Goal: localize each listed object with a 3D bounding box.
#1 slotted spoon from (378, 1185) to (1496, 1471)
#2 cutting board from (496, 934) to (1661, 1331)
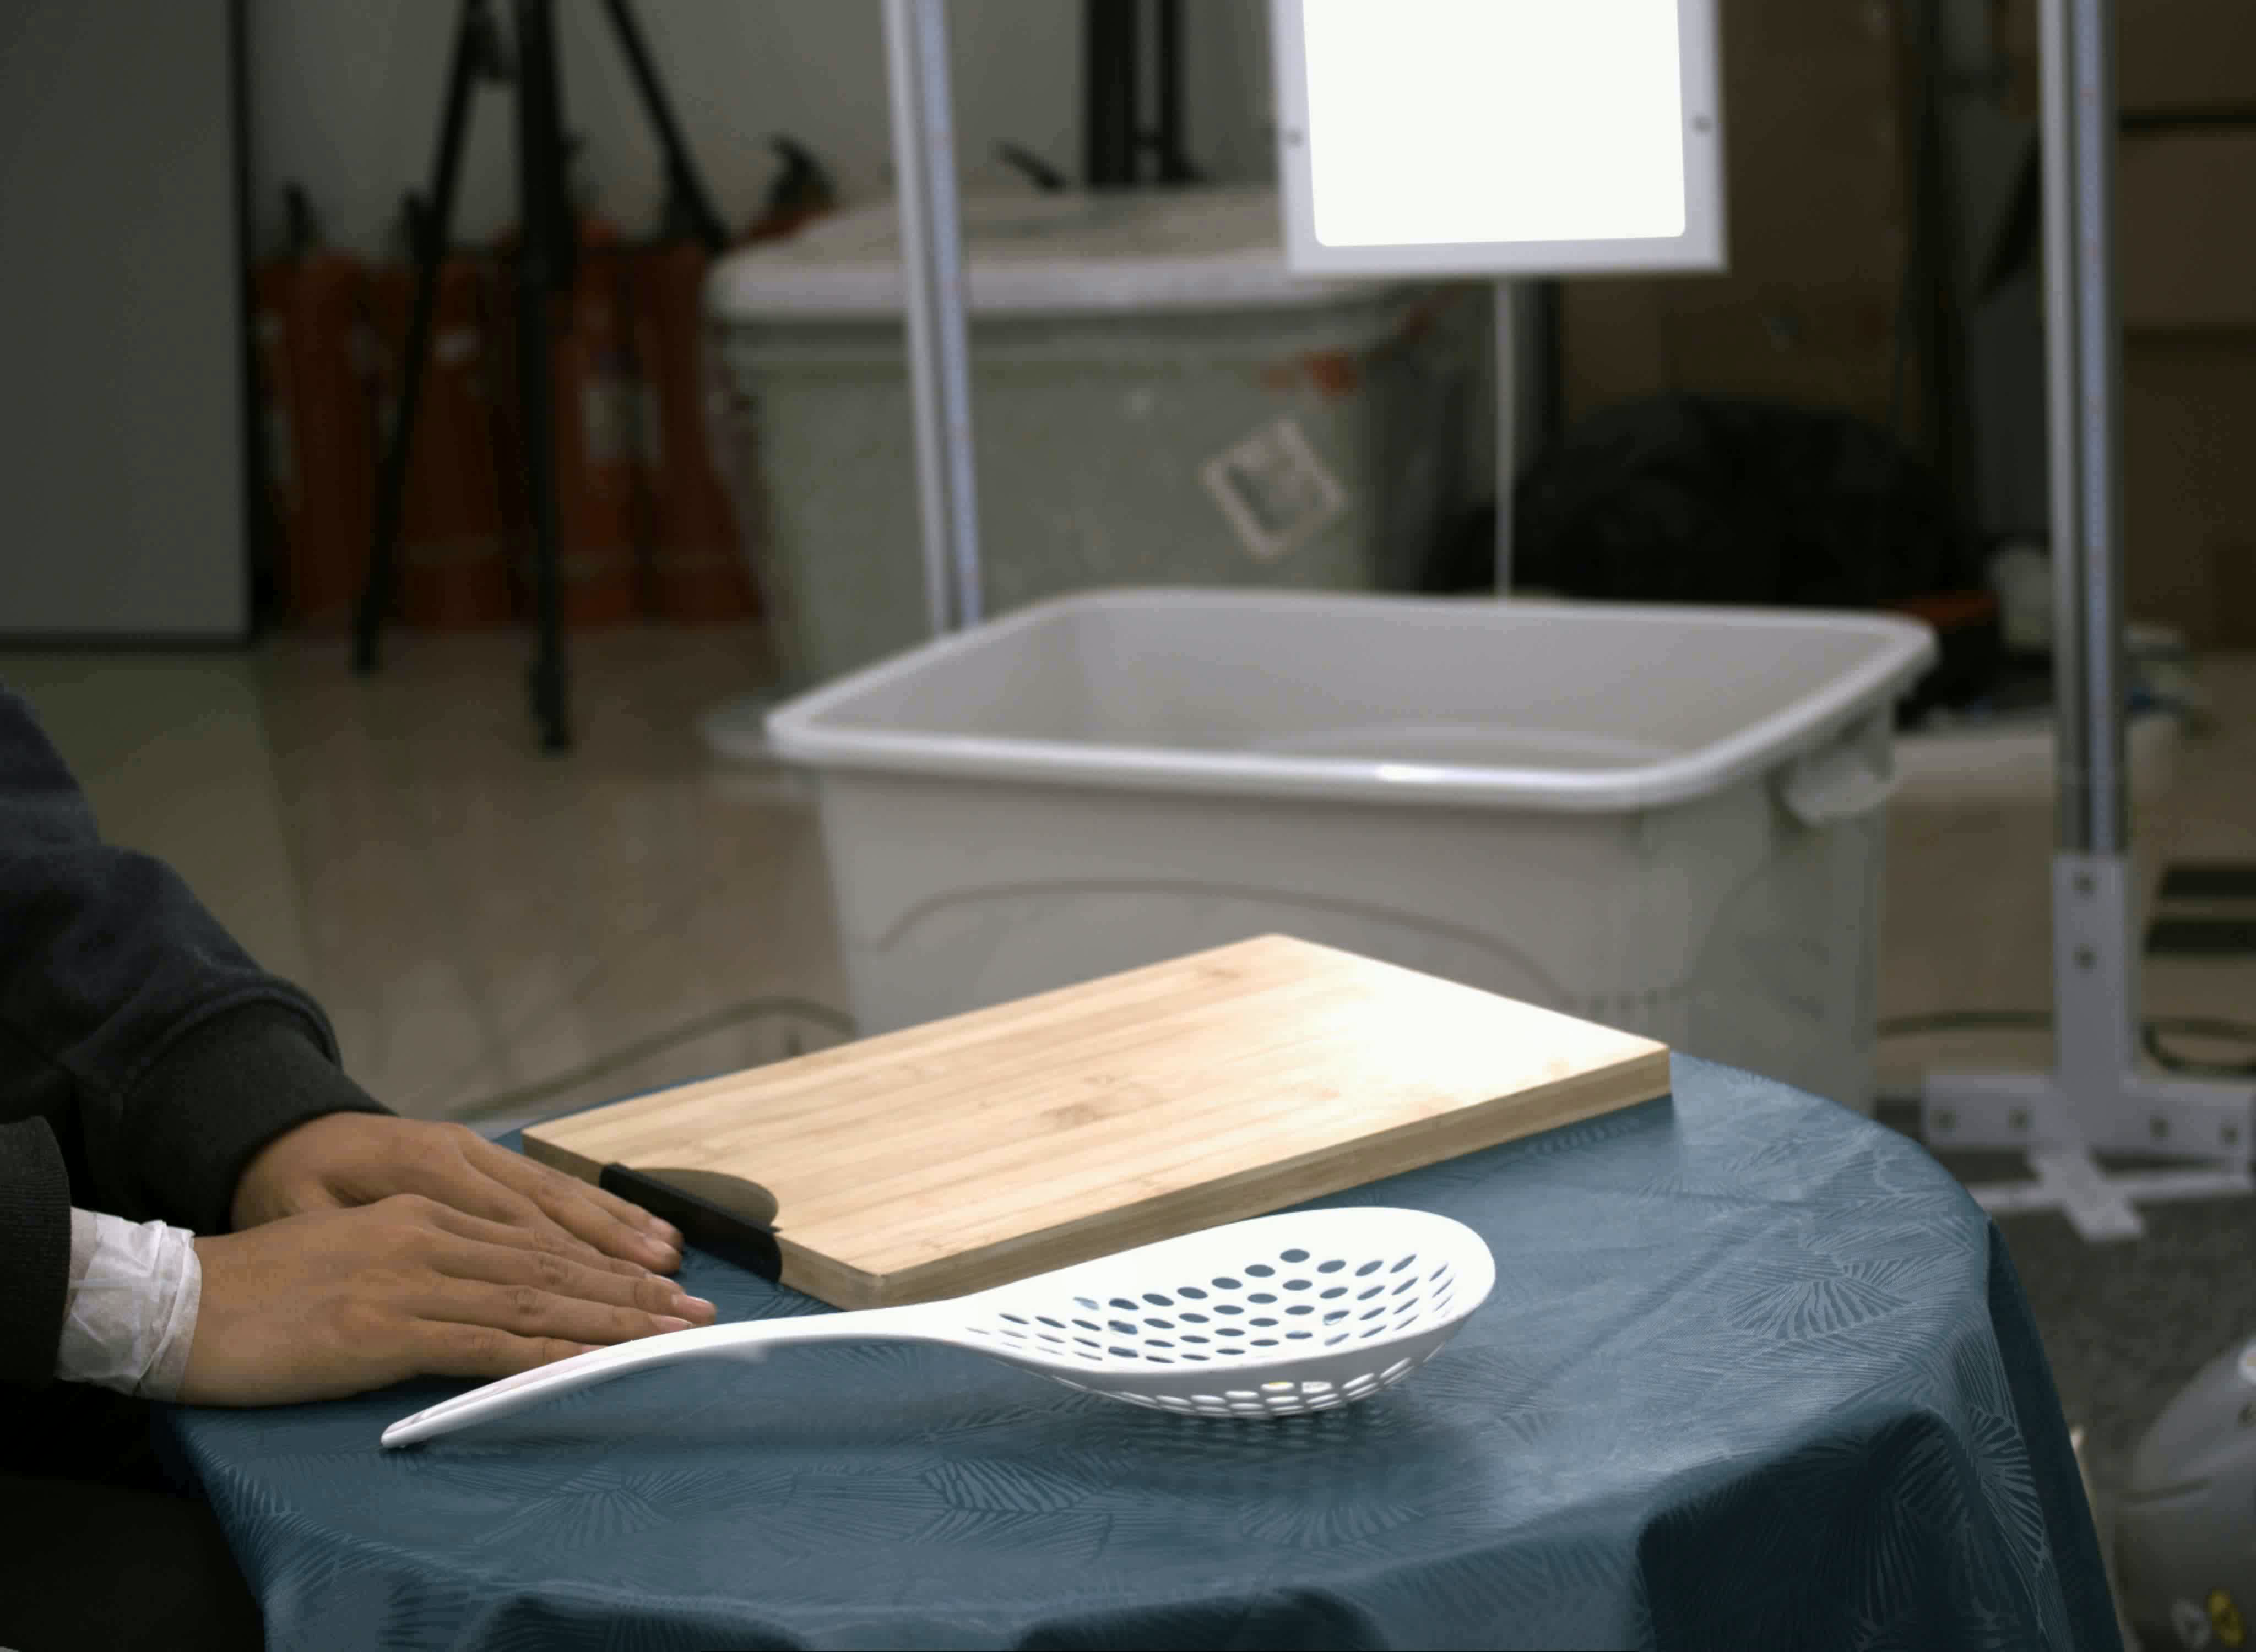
[{"bbox_3d":[-0.060,0.162,1.688,0.348,0.050,0.136,-4,16,6],"label":"slotted spoon"},{"bbox_3d":[-0.015,0.104,1.962,0.340,0.023,0.256,-14,16,-32],"label":"cutting board"}]
